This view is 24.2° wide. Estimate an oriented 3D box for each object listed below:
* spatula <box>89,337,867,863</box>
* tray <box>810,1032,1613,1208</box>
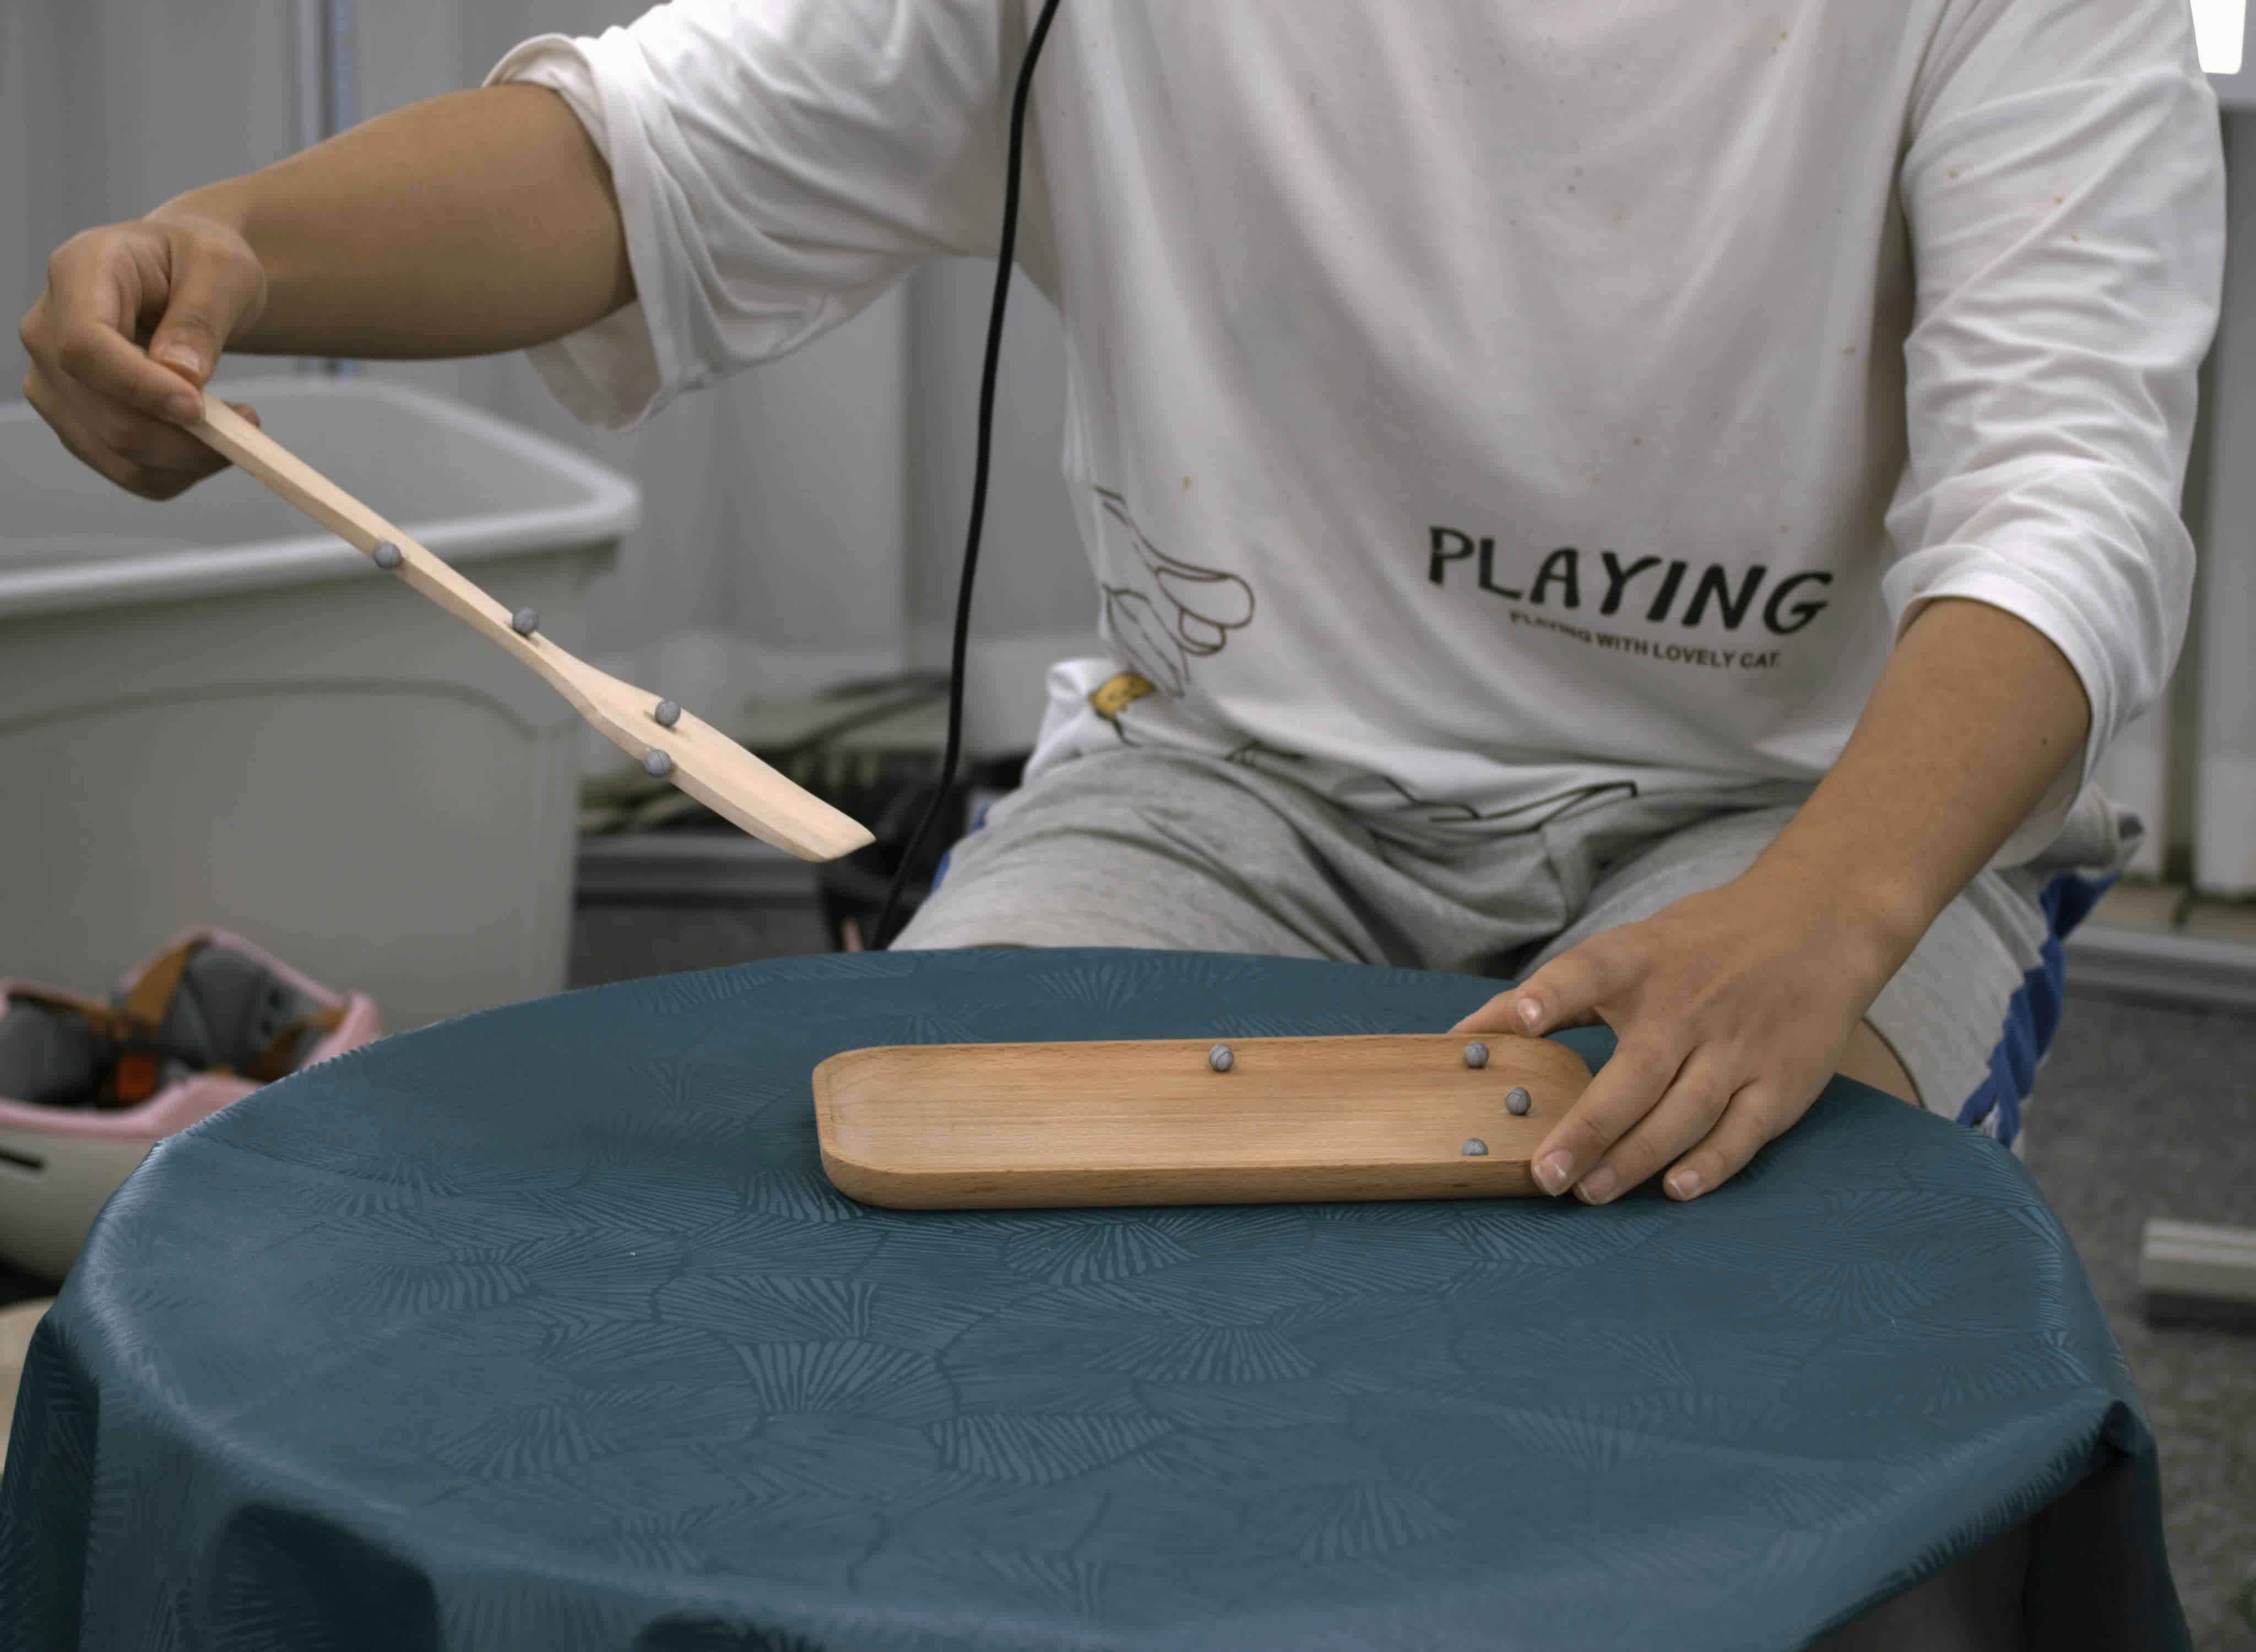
[{"bbox_3d":[-0.210,-0.072,1.668,0.292,0.011,0.072,35,12,5],"label":"spatula"},{"bbox_3d":[0.025,0.093,1.673,0.250,0.023,0.130,-1,13,-5],"label":"tray"}]
